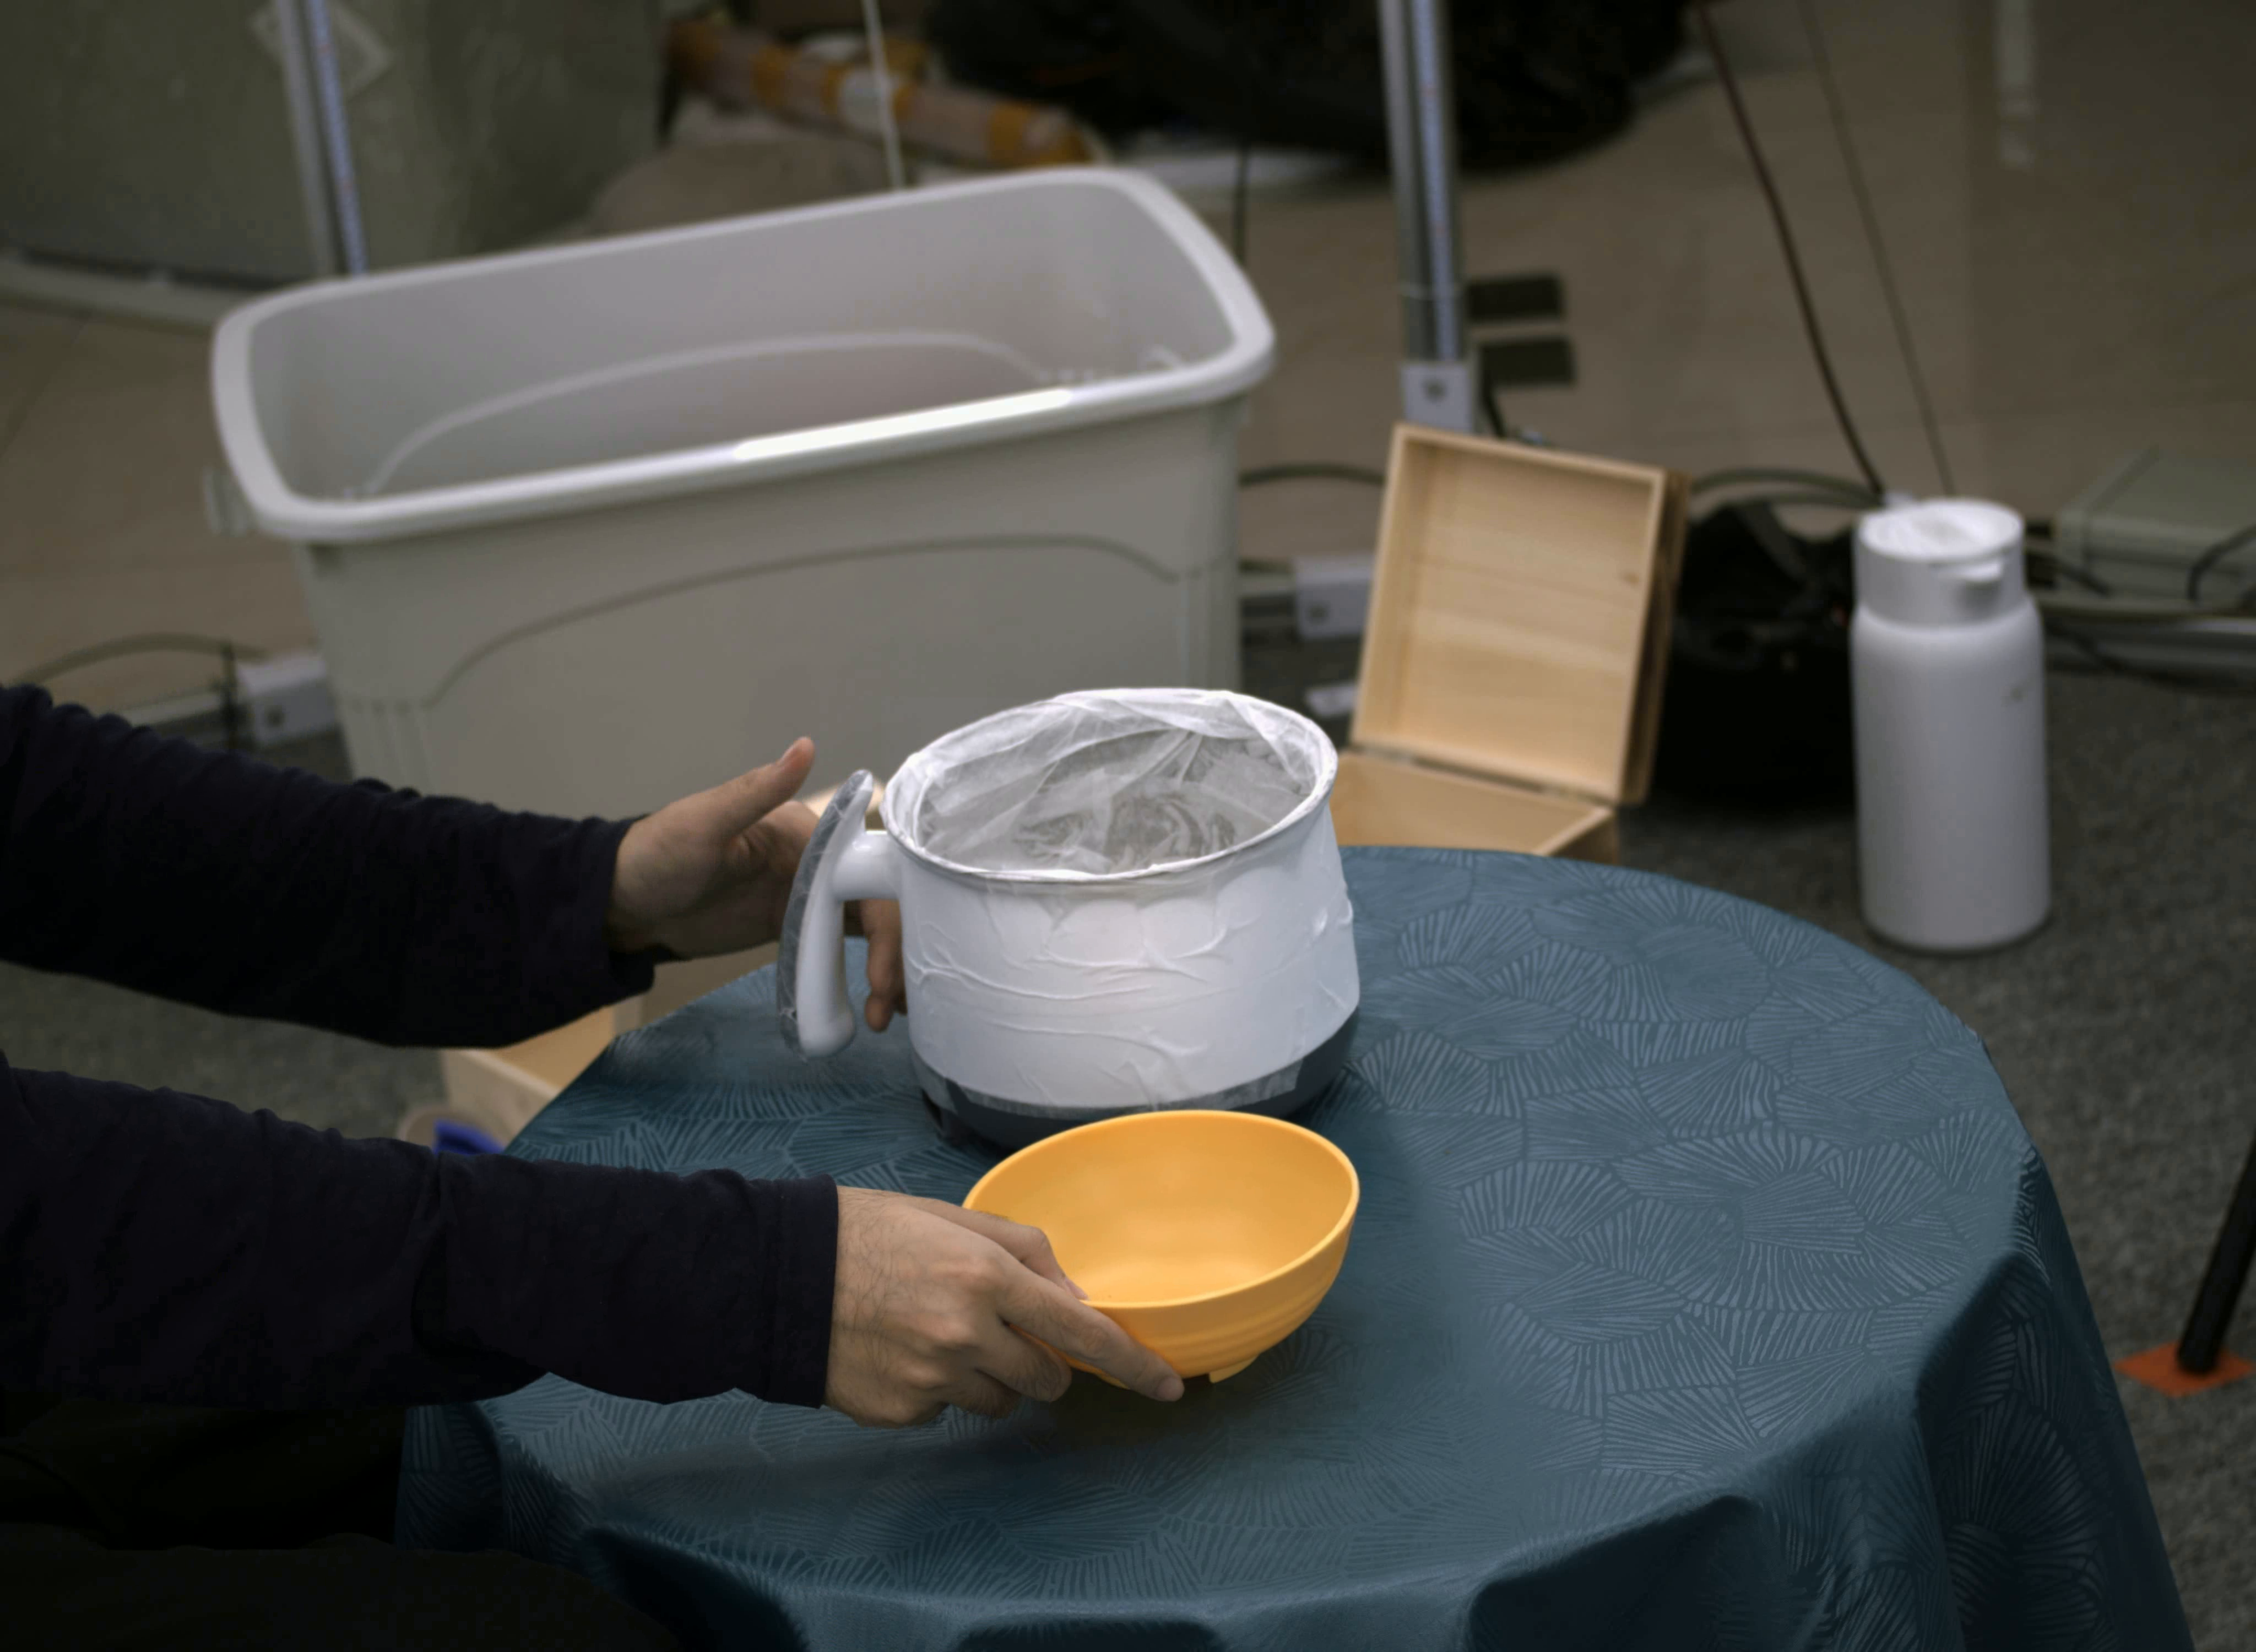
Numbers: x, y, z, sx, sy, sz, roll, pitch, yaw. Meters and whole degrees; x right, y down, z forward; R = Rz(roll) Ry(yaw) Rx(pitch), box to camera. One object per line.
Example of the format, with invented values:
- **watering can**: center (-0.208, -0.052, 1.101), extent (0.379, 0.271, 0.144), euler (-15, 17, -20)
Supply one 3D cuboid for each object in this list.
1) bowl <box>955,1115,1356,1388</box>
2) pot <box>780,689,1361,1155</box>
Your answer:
- **bowl**: center (0.012, 0.160, 2.028), extent (0.145, 0.061, 0.143), euler (-4, 24, 2)
- **pot**: center (-0.027, 0.042, 2.208), extent (0.233, 0.139, 0.176), euler (-2, 26, 13)
